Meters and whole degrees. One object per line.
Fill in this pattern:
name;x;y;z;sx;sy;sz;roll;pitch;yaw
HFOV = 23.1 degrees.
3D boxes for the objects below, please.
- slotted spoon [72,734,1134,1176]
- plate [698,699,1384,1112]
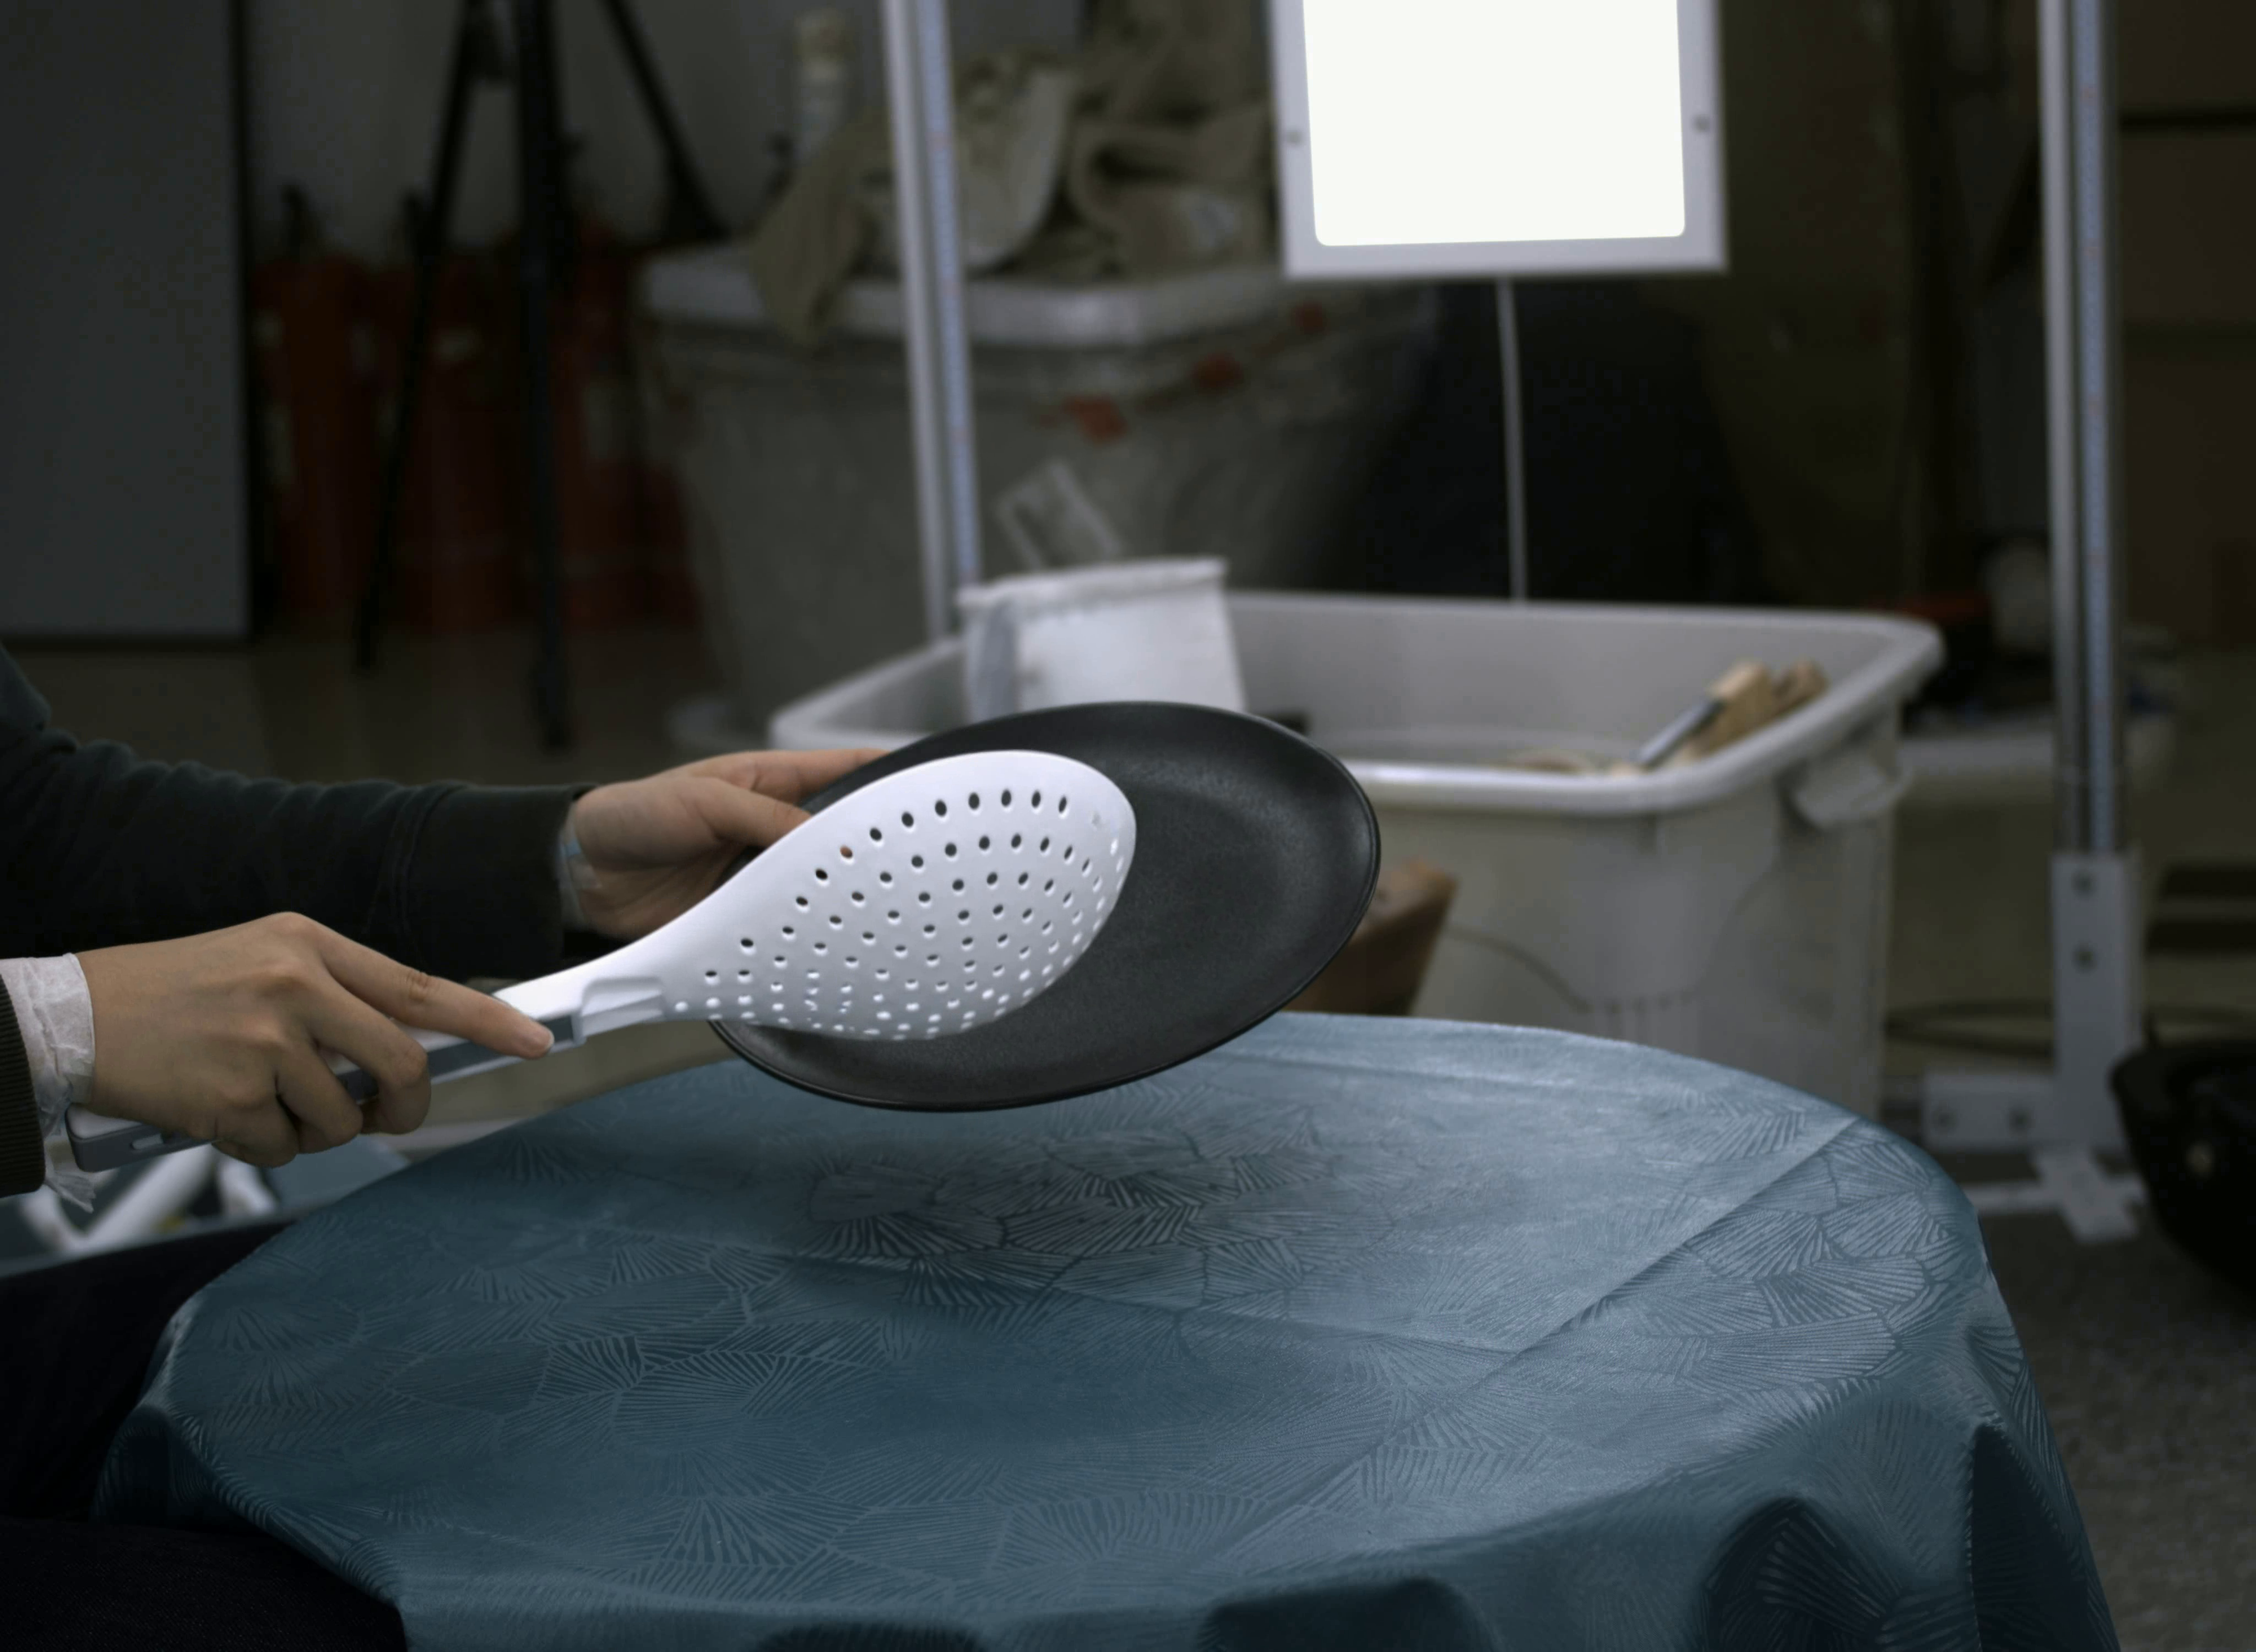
slotted spoon;-0.161;0.051;1.743;0.347;0.136;0.046;-12;53;-6
plate;-0.030;0.032;1.898;0.245;0.023;0.244;-11;33;6
